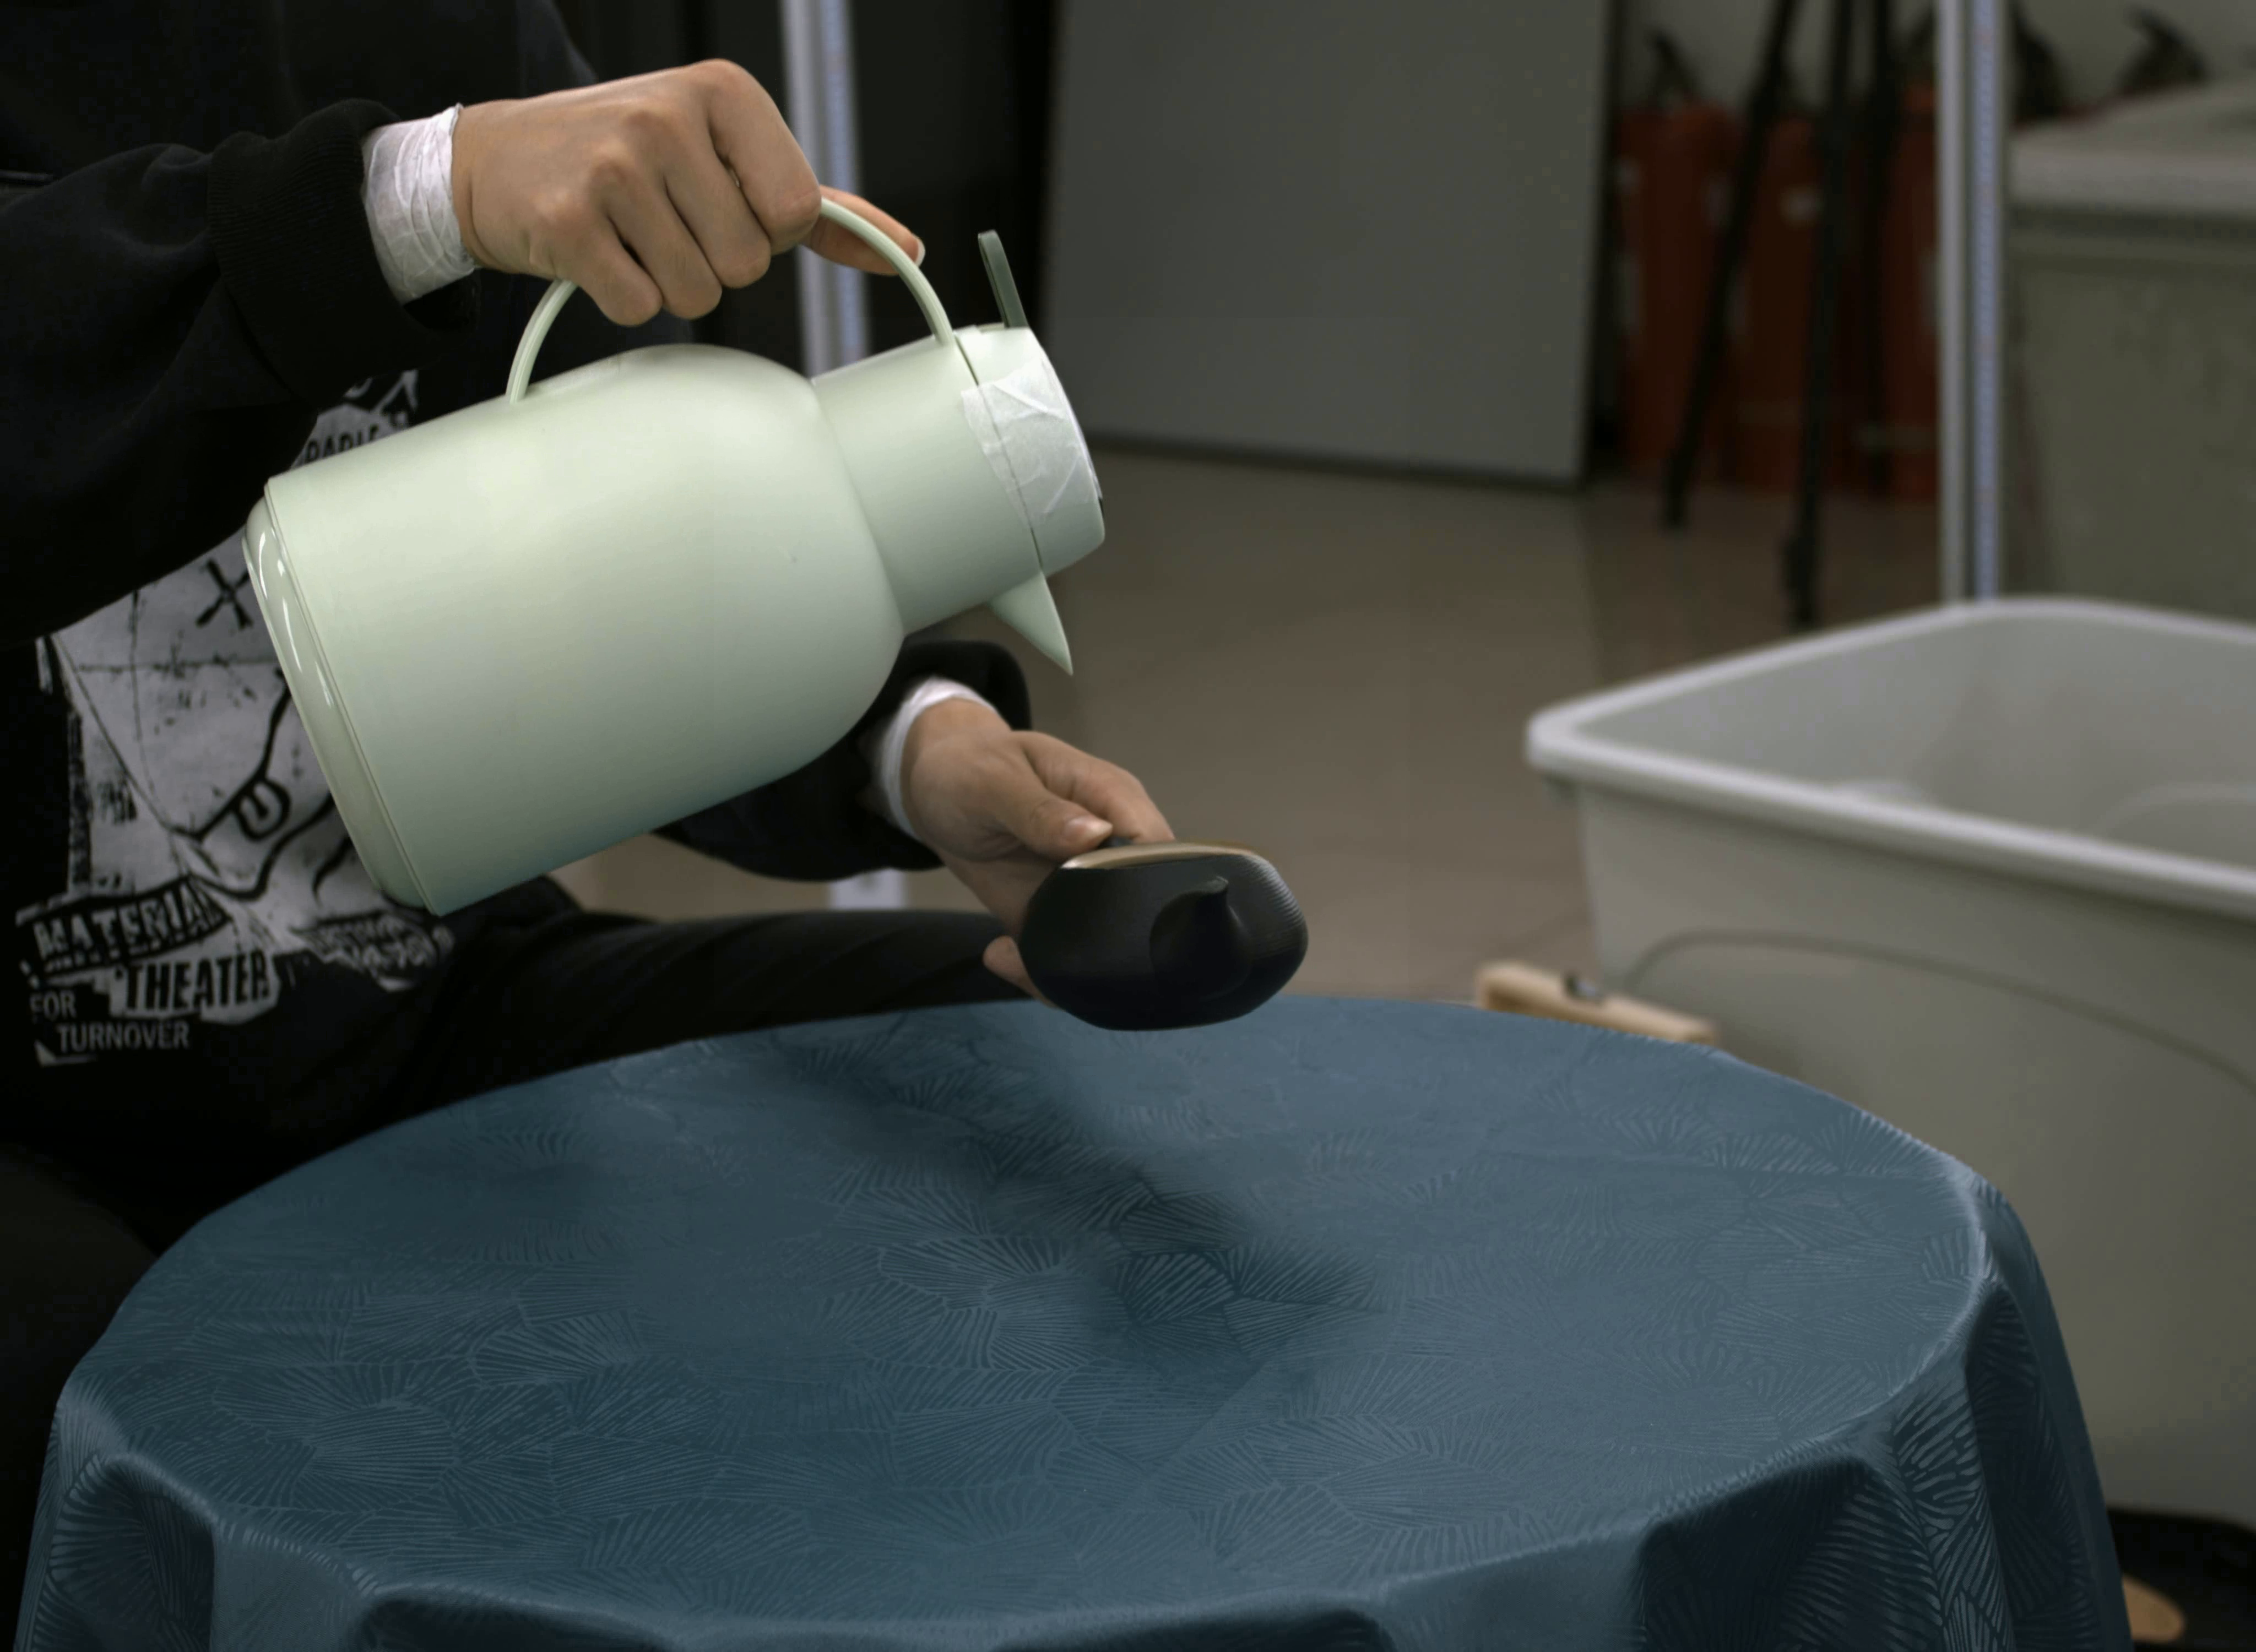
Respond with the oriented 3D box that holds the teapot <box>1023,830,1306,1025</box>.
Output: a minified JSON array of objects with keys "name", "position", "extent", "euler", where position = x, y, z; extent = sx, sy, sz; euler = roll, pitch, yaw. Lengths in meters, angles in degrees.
[{"name":"teapot","position":[0.011,0.033,1.705],"extent":[0.089,0.054,0.134],"euler":[-6,8,-14]}]

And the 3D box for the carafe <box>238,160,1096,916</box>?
[{"name":"carafe","position":[-0.142,-0.096,1.671],"extent":[0.254,0.188,0.145],"euler":[-25,11,-2]}]
